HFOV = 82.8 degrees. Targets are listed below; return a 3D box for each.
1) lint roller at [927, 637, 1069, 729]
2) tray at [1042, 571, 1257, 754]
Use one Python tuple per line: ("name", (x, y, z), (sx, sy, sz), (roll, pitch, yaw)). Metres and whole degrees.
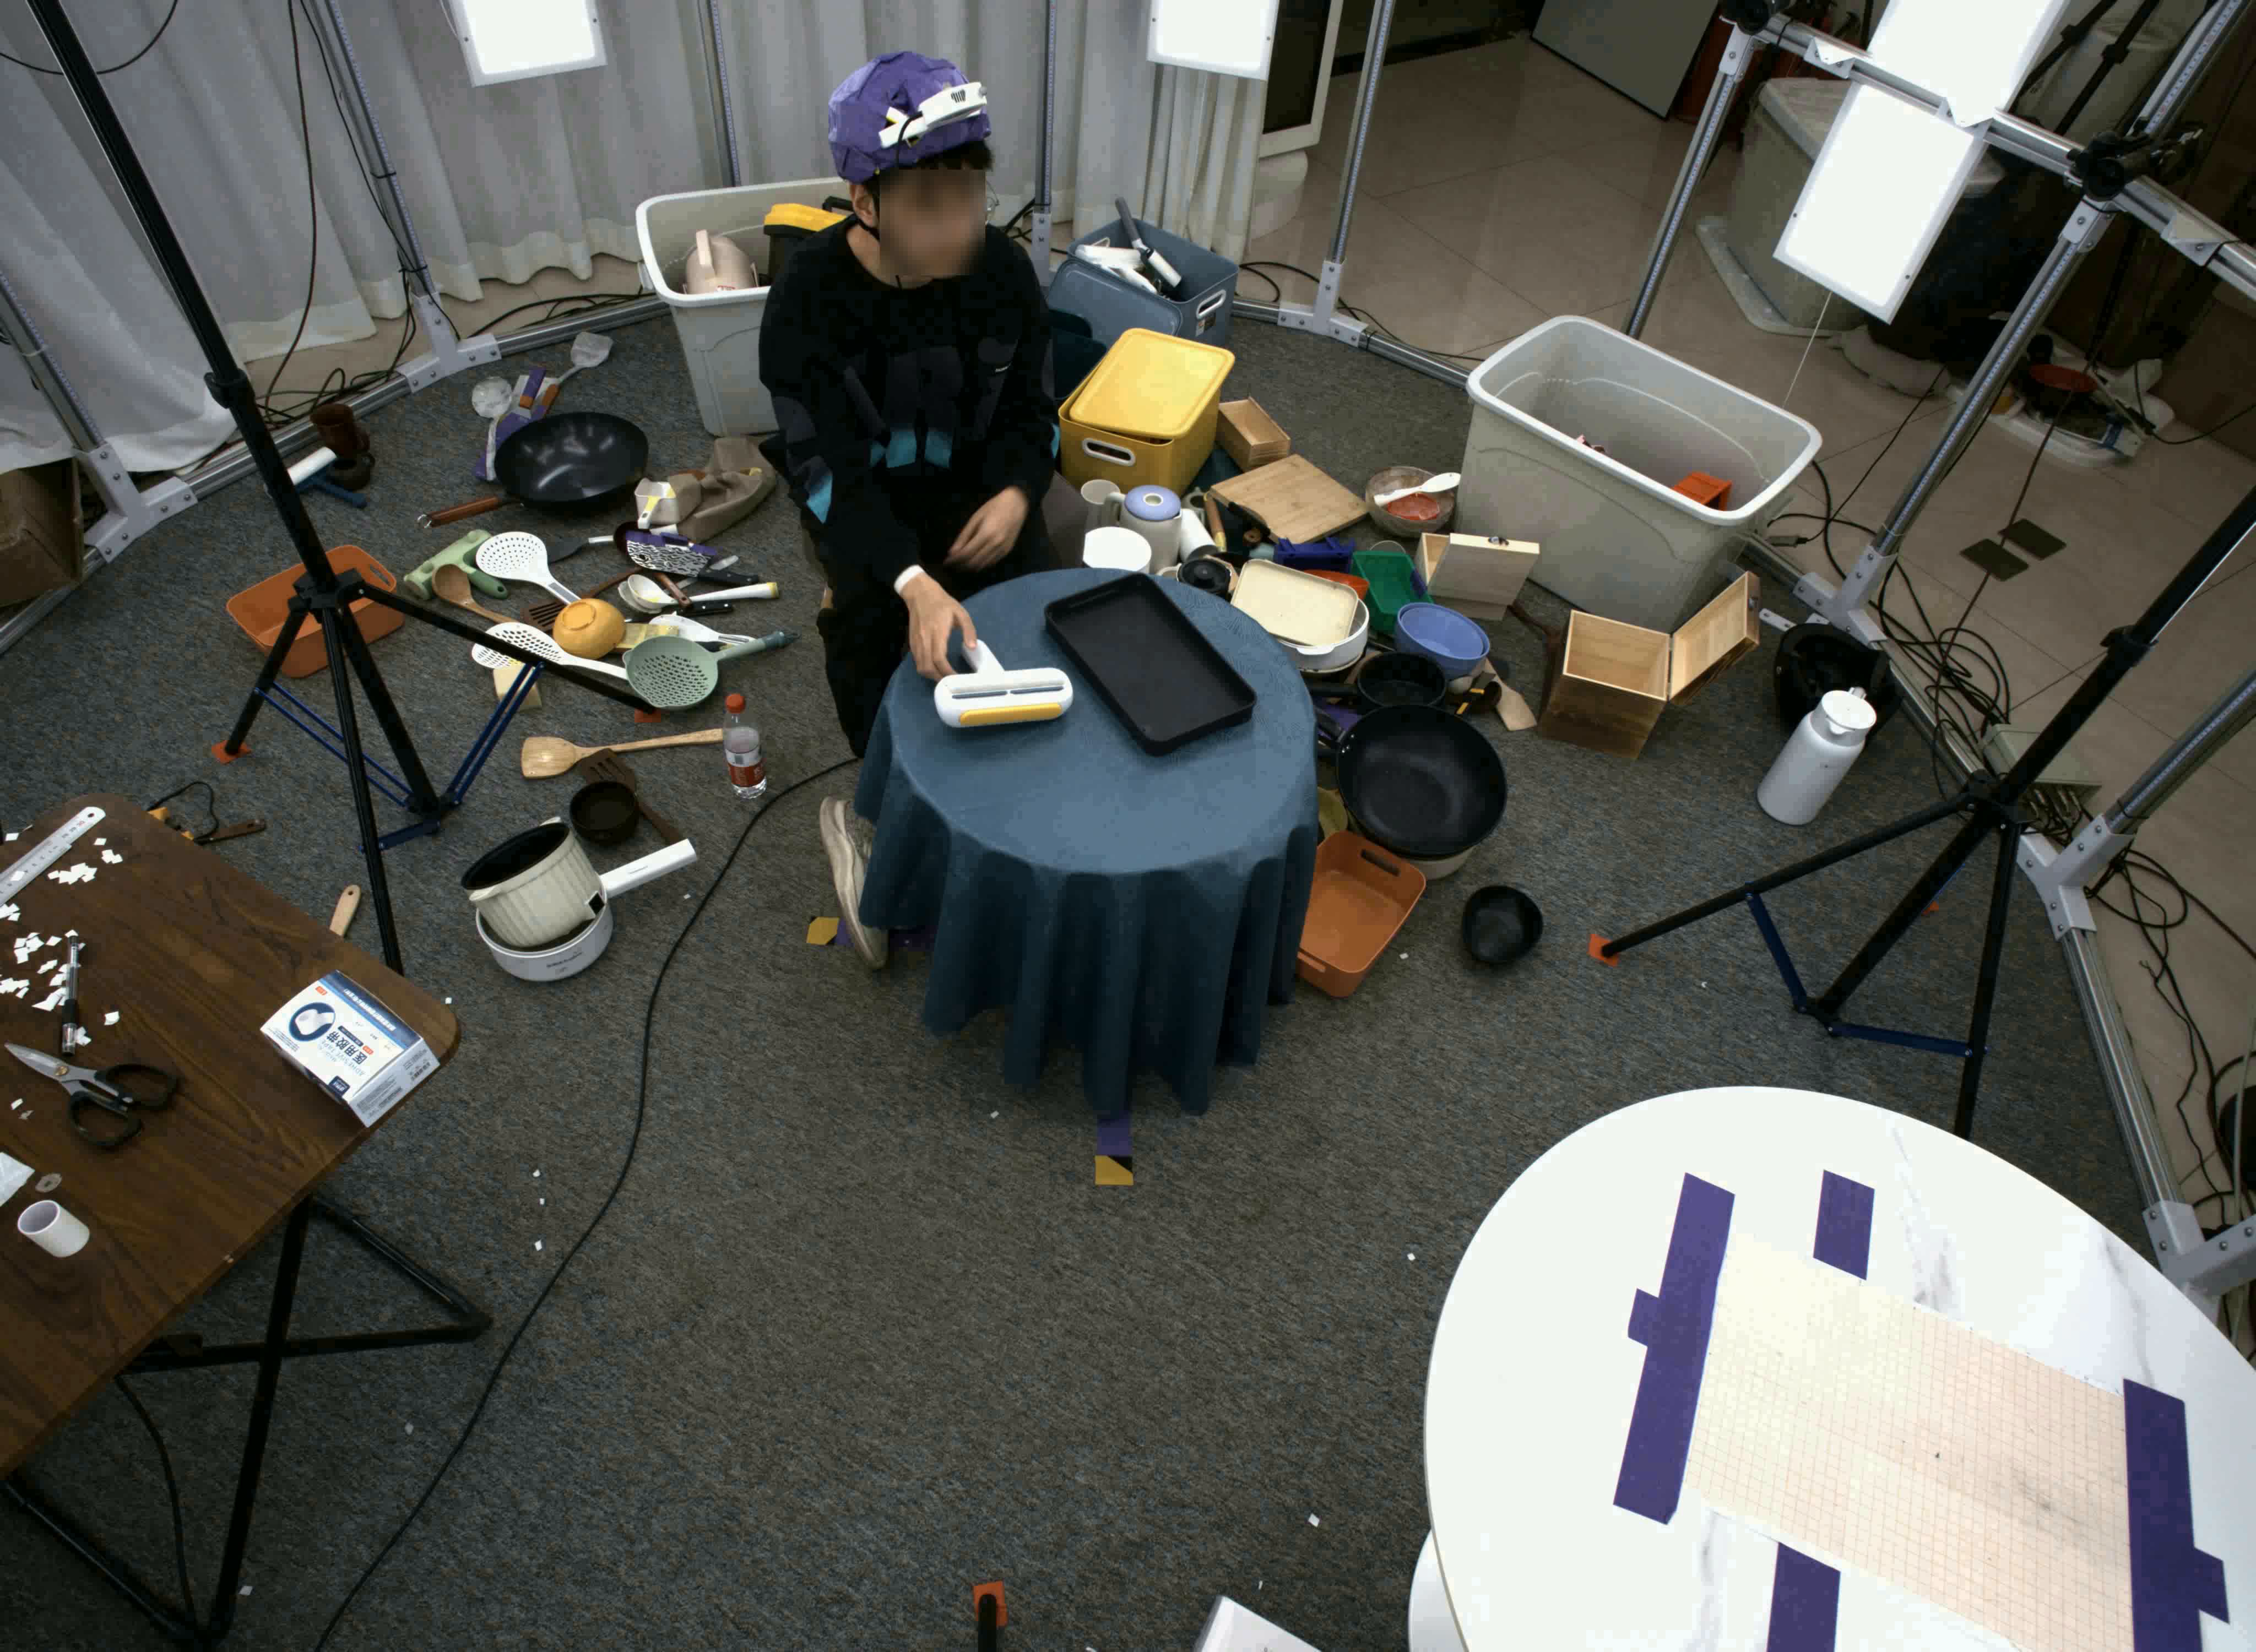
("lint roller", (-0.193, -0.212, 1.797), (0.192, 0.072, 0.197), (-7, 48, -17))
("tray", (0.027, -0.243, 1.858), (0.185, 0.036, 0.324), (-24, 55, -22))
